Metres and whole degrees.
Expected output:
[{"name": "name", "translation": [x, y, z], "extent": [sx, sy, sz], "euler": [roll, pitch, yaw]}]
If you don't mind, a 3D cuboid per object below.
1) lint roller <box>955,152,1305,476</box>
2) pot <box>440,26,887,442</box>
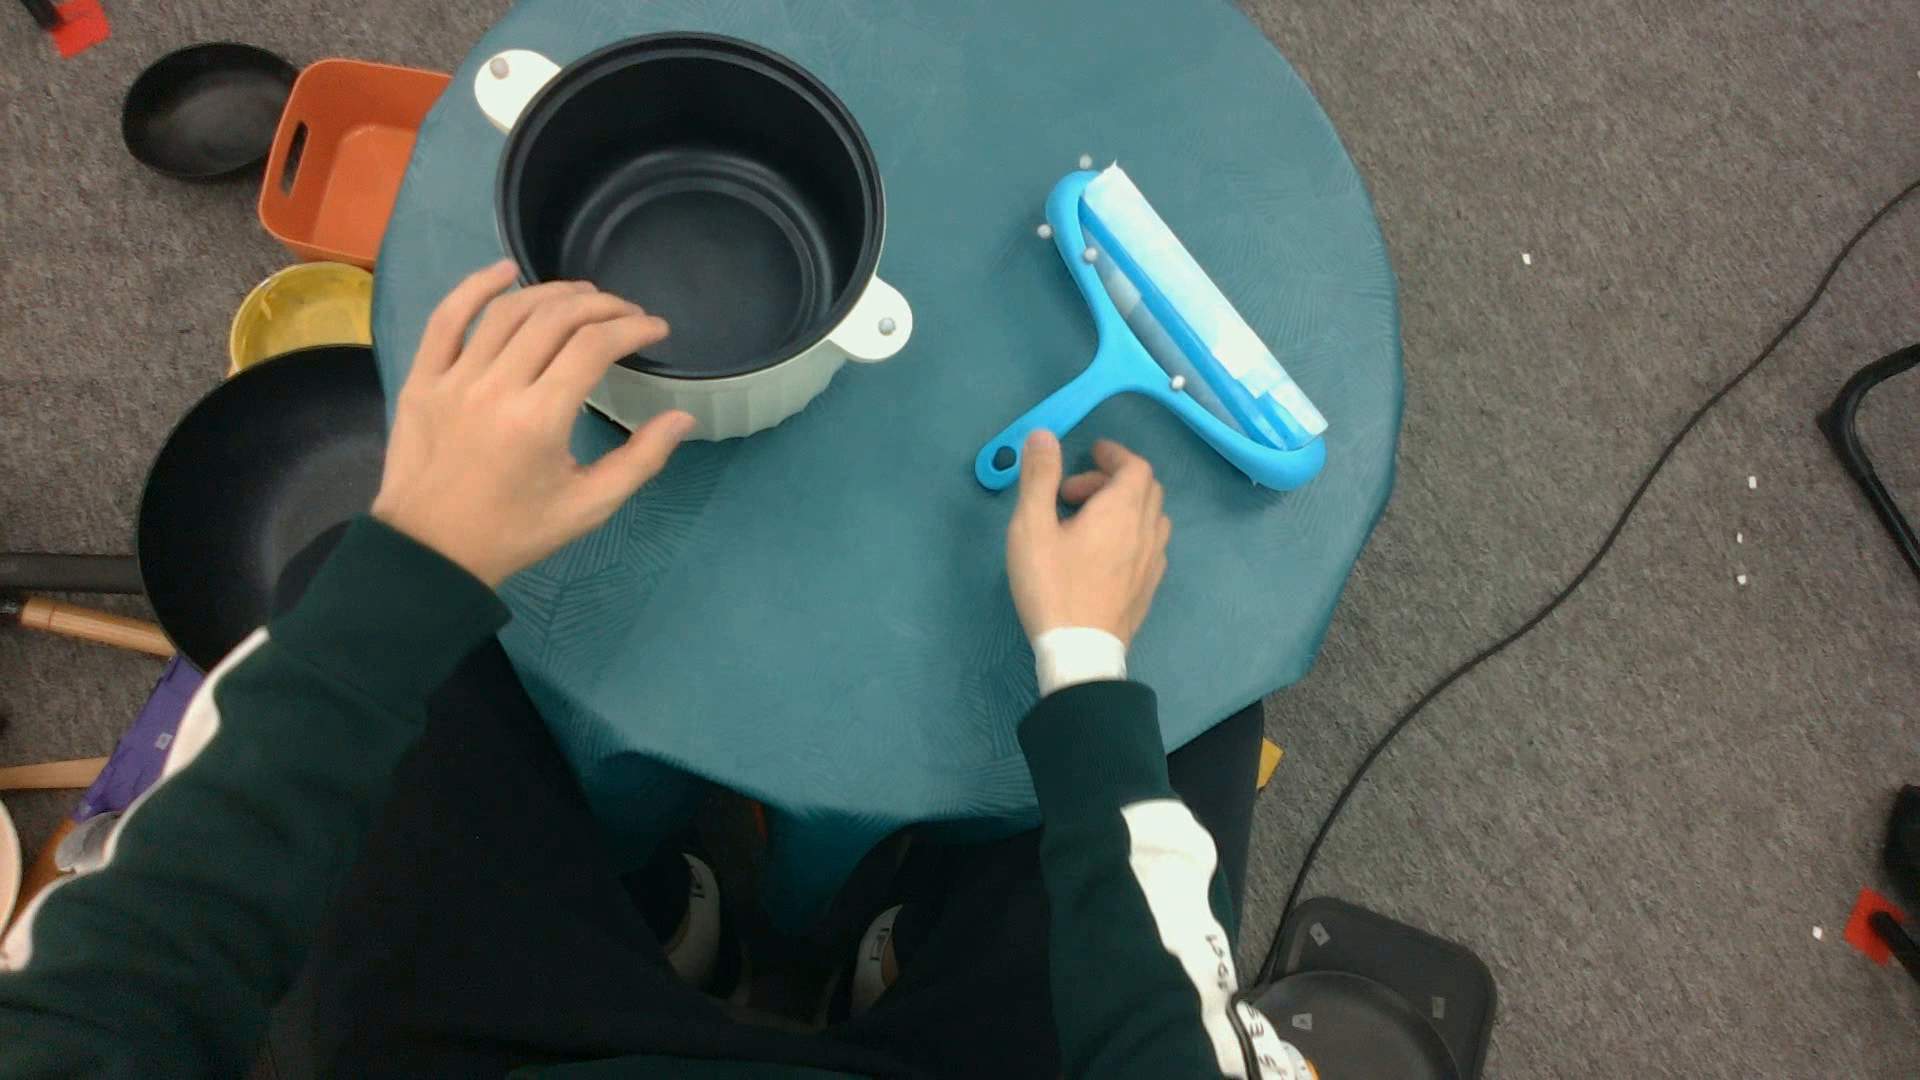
[{"name": "lint roller", "translation": [0.075, -0.099, 0.784], "extent": [0.181, 0.067, 0.229], "euler": [-40, 87, -19]}, {"name": "pot", "translation": [-0.149, -0.154, 0.718], "extent": [0.240, 0.142, 0.191], "euler": [31, 76, -2]}]
